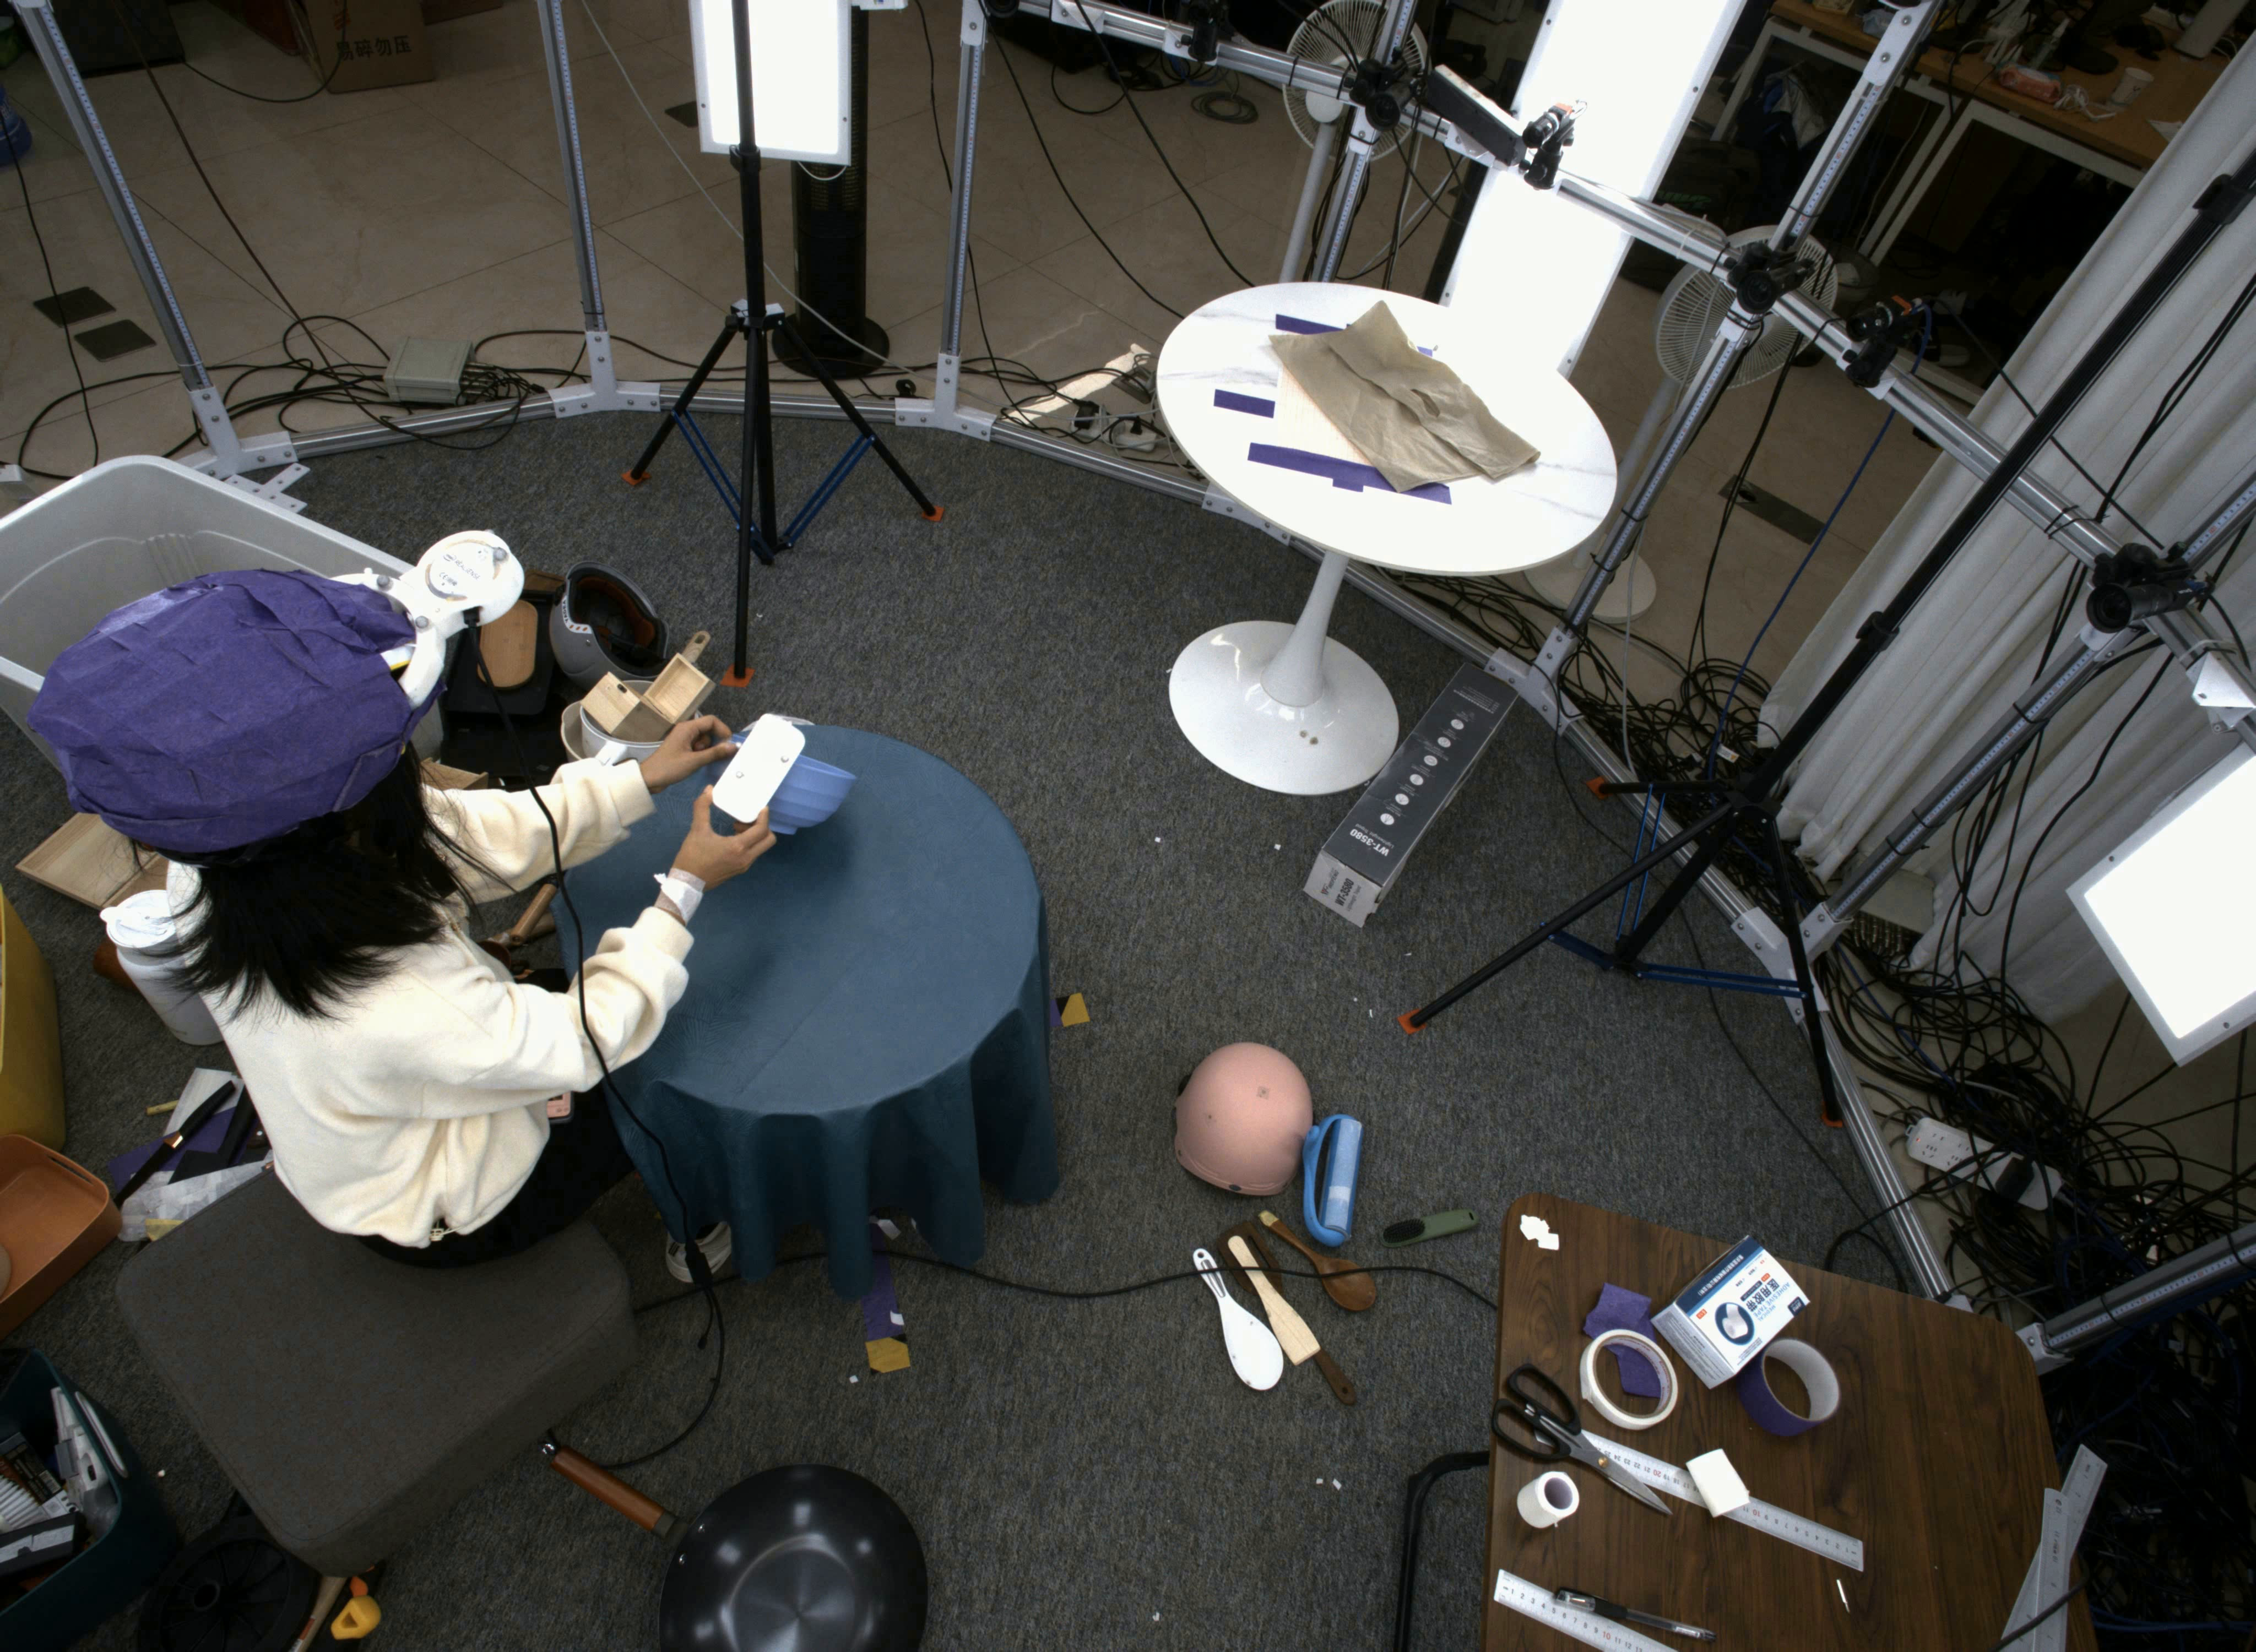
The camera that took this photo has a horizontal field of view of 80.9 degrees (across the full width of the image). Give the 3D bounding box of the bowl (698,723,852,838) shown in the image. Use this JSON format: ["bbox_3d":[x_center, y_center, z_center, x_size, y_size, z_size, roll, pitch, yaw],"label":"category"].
[{"bbox_3d":[-0.458,-0.048,1.629,0.194,0.197,0.096,24,90,6],"label":"bowl"}]

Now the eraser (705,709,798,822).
[{"bbox_3d":[-0.441,-0.071,1.508,0.065,0.034,0.131,36,67,-22],"label":"eraser"}]
